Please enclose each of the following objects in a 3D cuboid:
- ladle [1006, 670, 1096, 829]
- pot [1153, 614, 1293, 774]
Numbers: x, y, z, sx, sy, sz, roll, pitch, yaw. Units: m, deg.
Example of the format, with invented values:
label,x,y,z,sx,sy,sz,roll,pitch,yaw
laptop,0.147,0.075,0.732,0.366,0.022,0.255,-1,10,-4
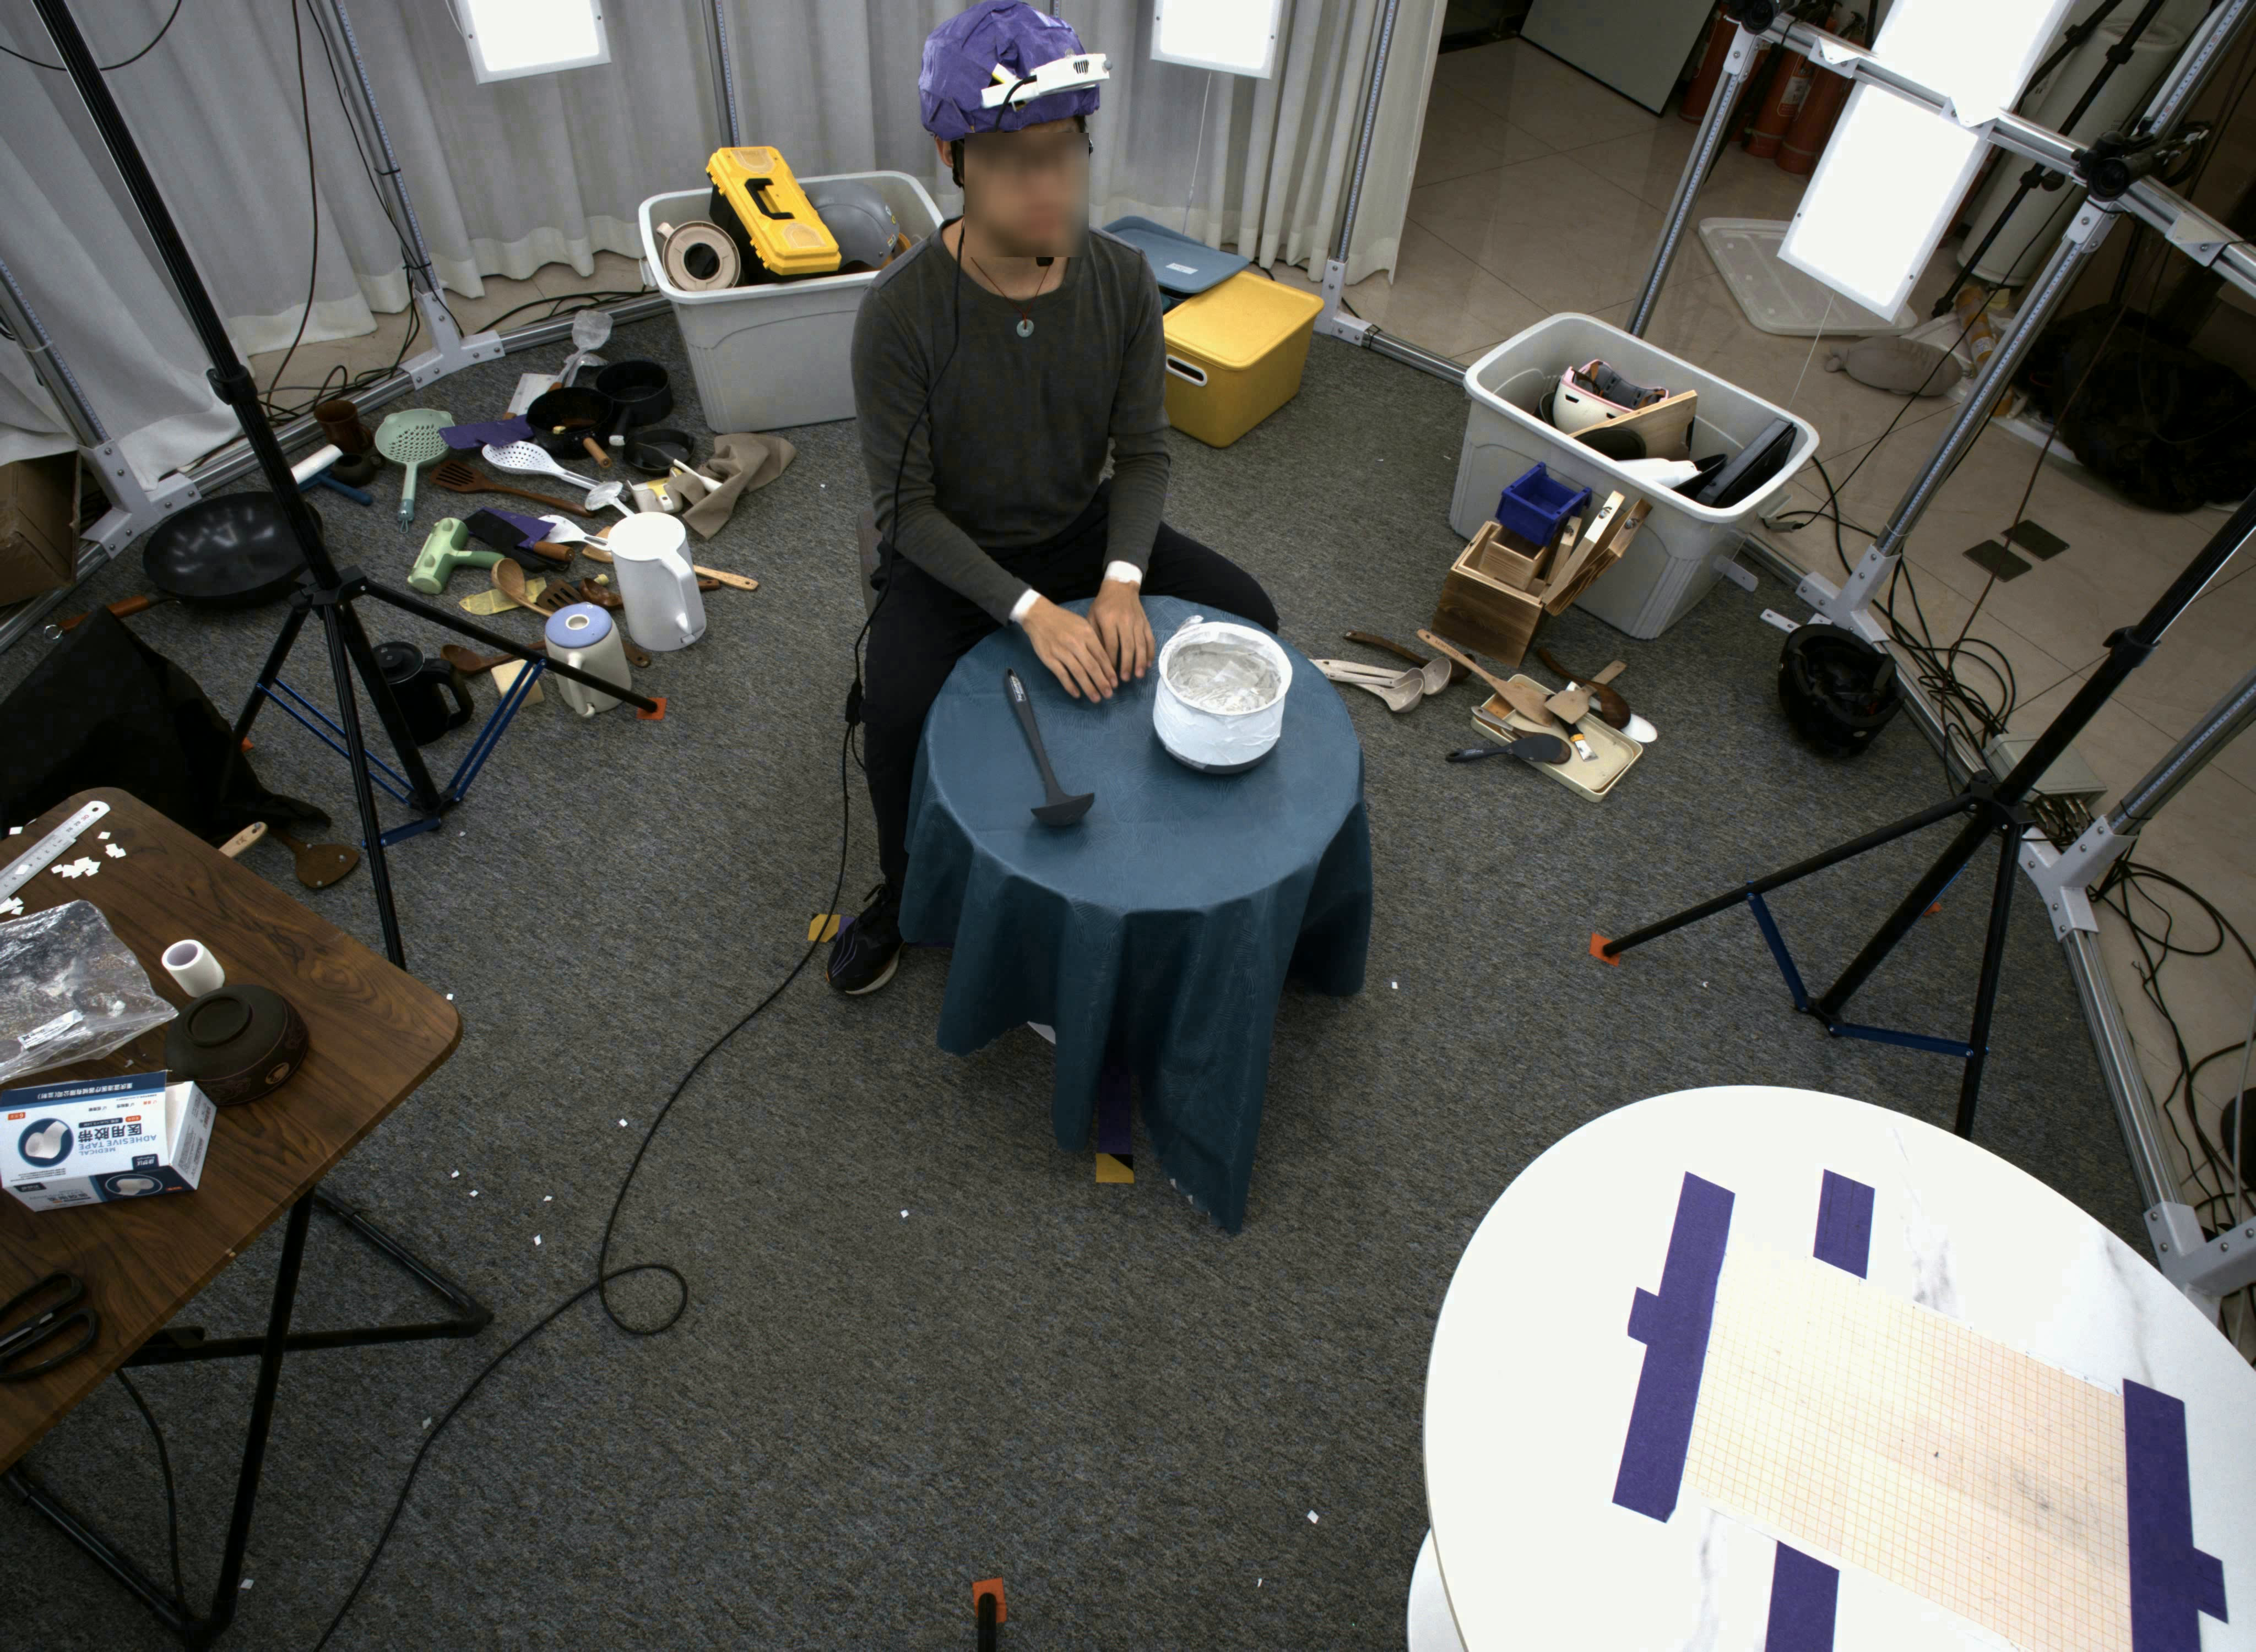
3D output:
label,x,y,z,sx,sy,sz,roll,pitch,yaw
ladle,-0.121,-0.119,1.721,0.086,0.062,0.322,-11,51,-14
pot,0.115,-0.190,1.751,0.179,0.133,0.239,-14,52,-16
